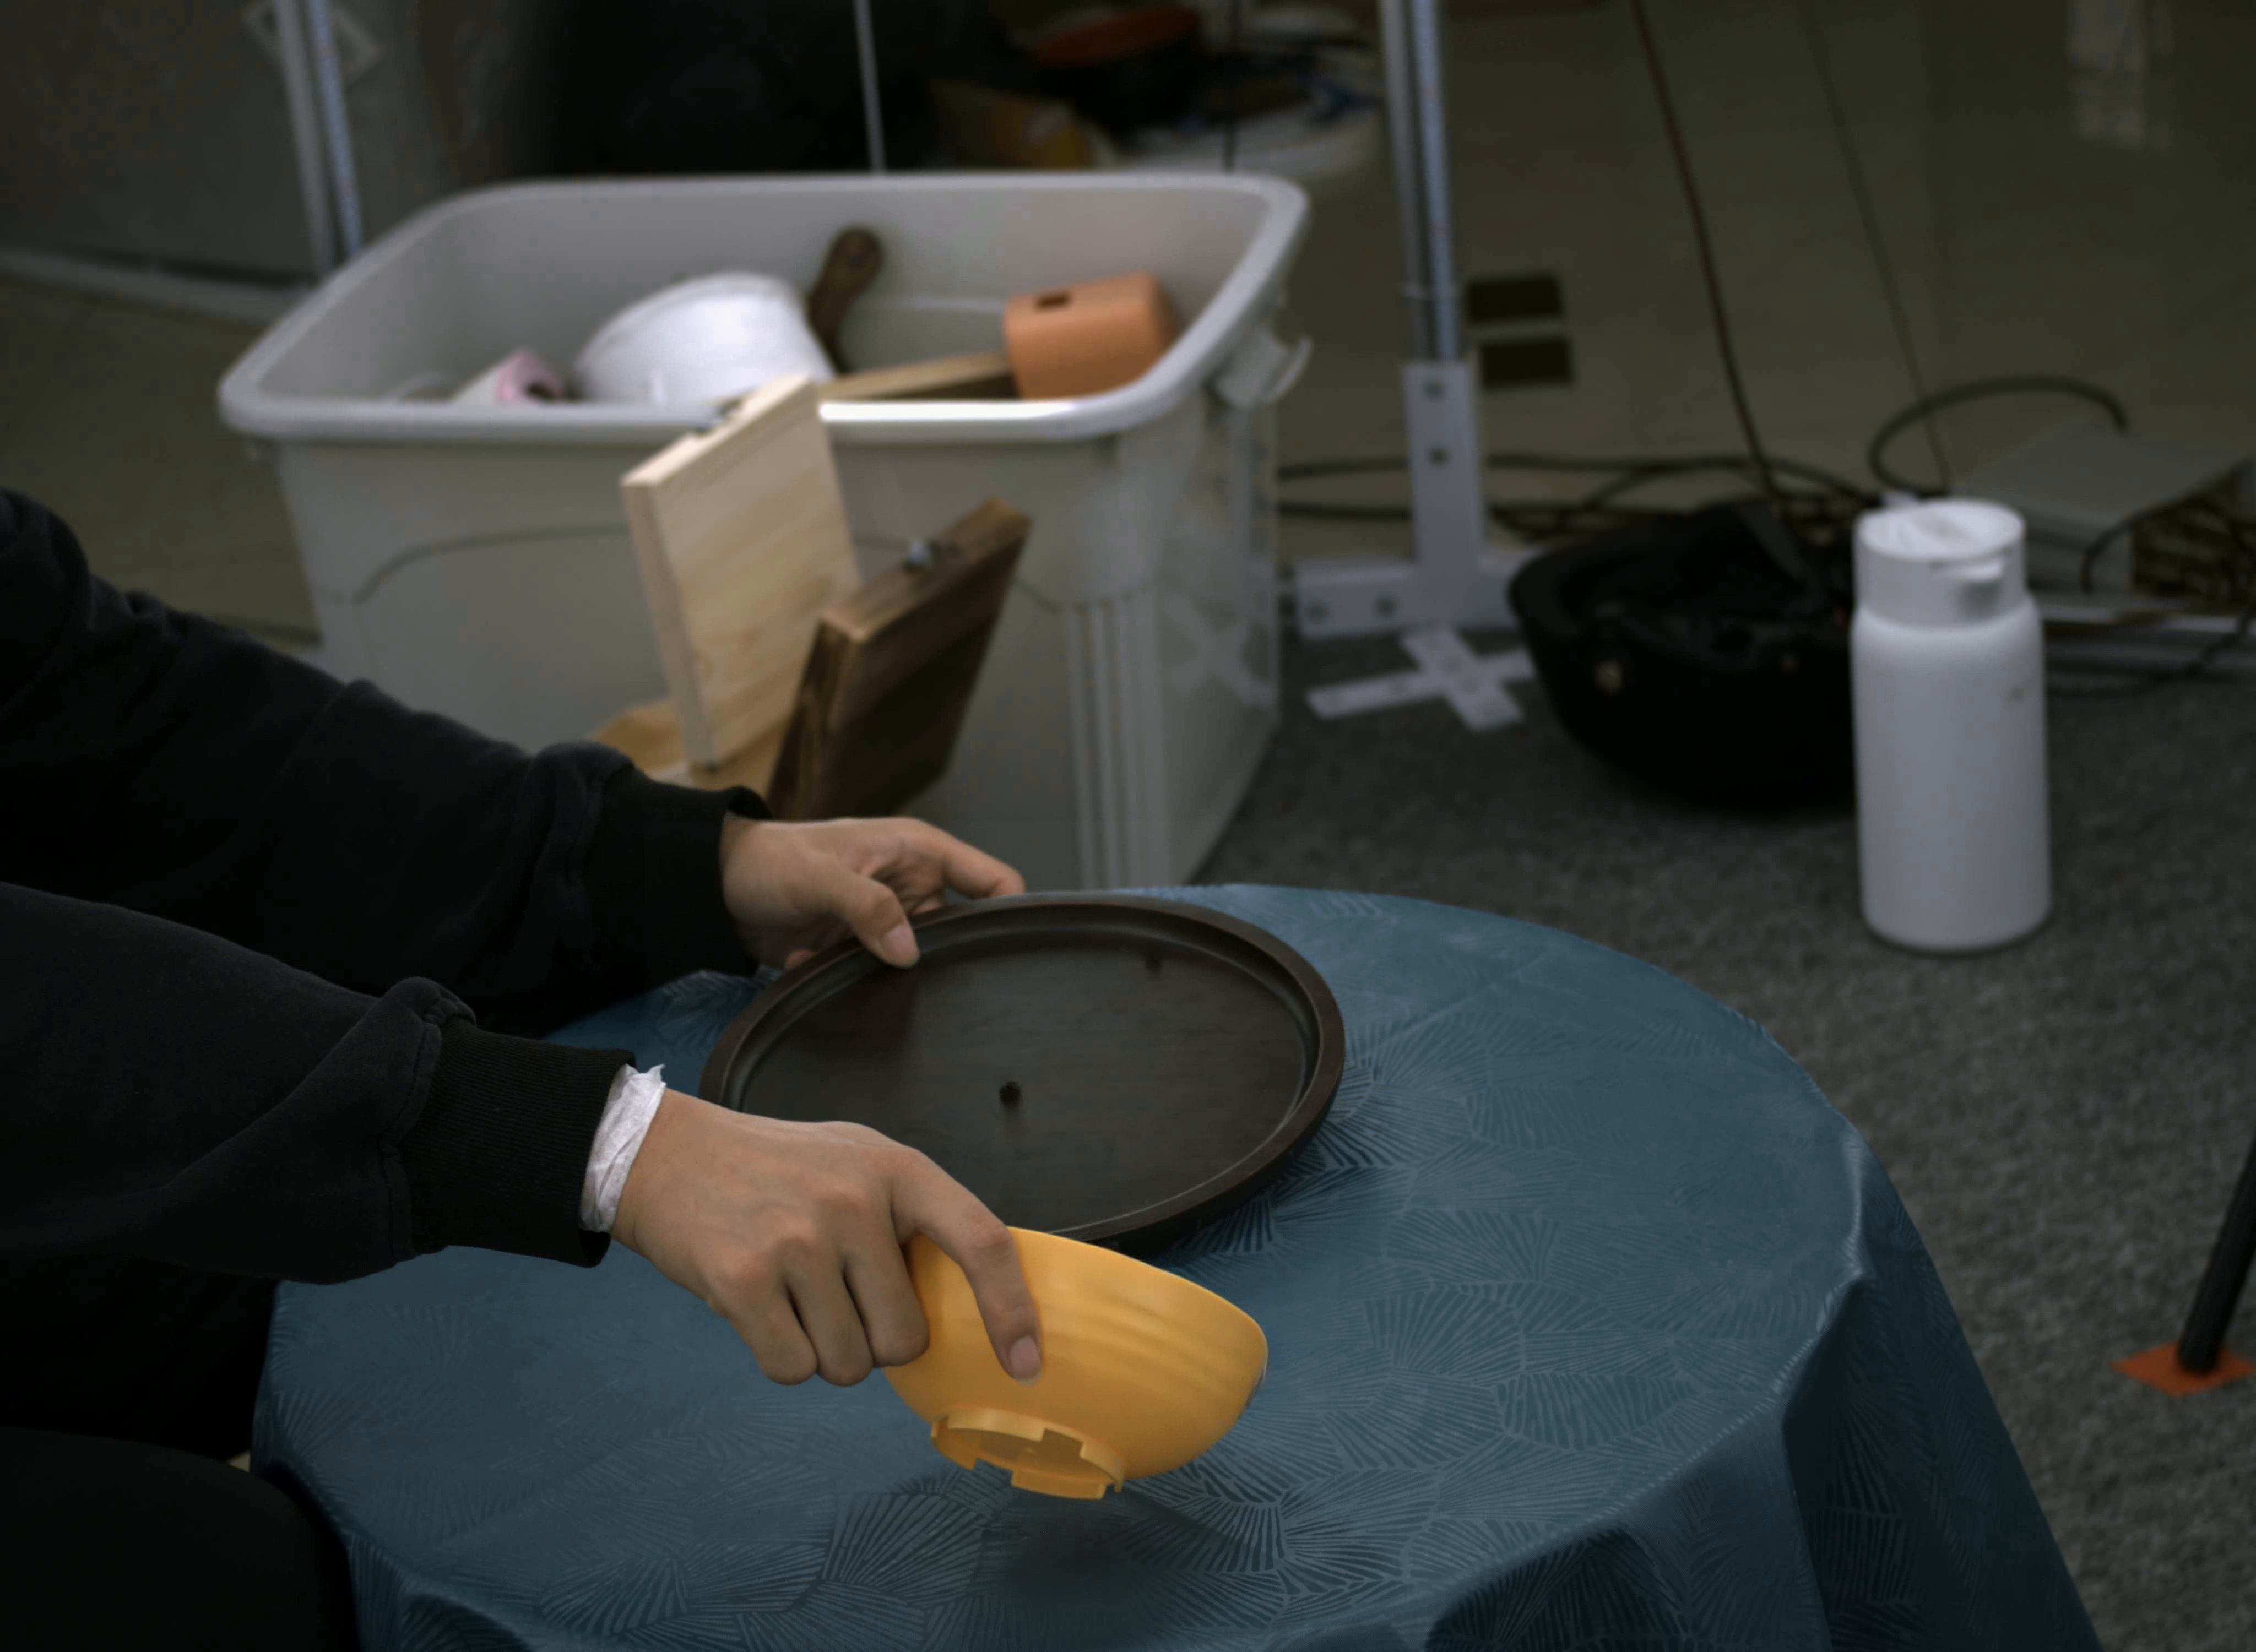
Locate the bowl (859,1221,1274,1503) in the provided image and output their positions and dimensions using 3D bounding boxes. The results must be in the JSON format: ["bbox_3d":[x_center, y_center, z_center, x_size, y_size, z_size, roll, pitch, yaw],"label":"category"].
[{"bbox_3d":[-0.027,0.188,1.902,0.145,0.147,0.059,4,65,21],"label":"bowl"}]

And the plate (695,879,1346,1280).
[{"bbox_3d":[-0.041,0.101,2.191,0.254,0.029,0.250,-6,33,4],"label":"plate"}]
